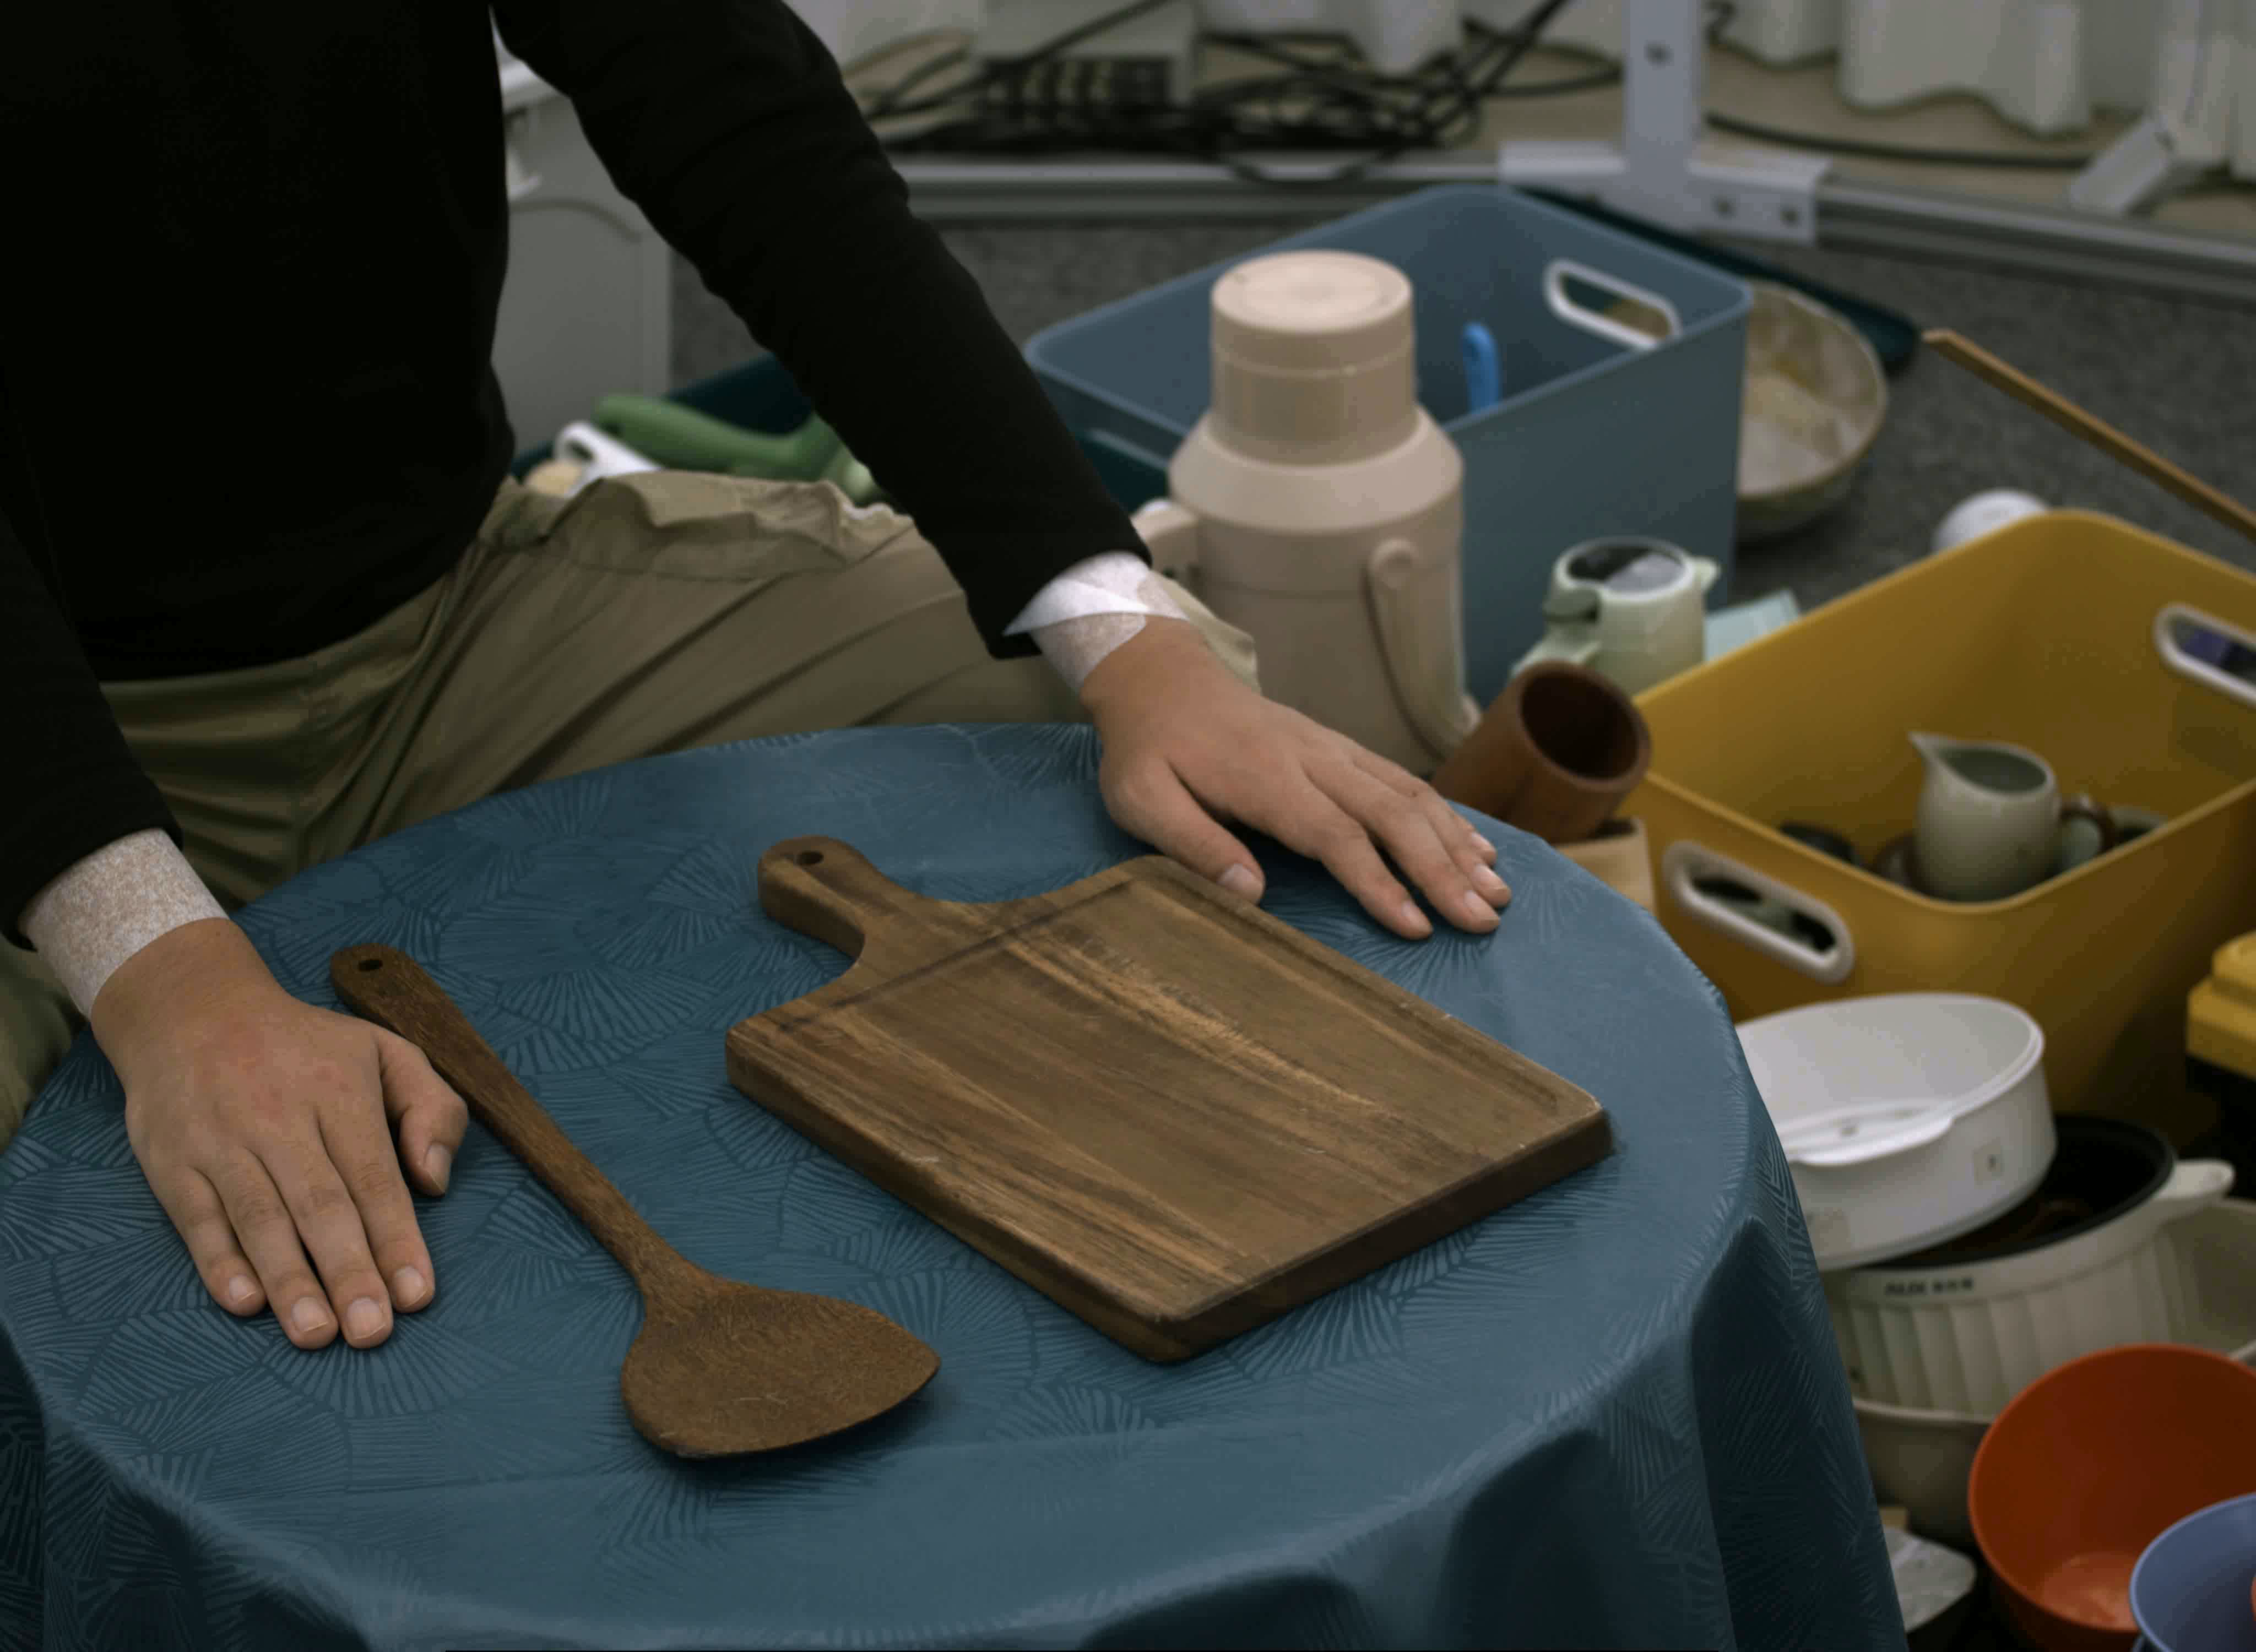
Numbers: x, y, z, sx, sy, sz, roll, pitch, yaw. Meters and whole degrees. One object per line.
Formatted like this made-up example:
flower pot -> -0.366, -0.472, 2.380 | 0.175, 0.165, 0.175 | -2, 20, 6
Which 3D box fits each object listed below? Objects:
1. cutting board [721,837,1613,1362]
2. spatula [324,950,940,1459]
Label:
cutting board -> -0.020, 0.073, 1.935 | 0.203, 0.023, 0.352 | -22, 33, -33
spatula -> -0.186, 0.117, 1.872 | 0.096, 0.015, 0.387 | -16, 30, -25
